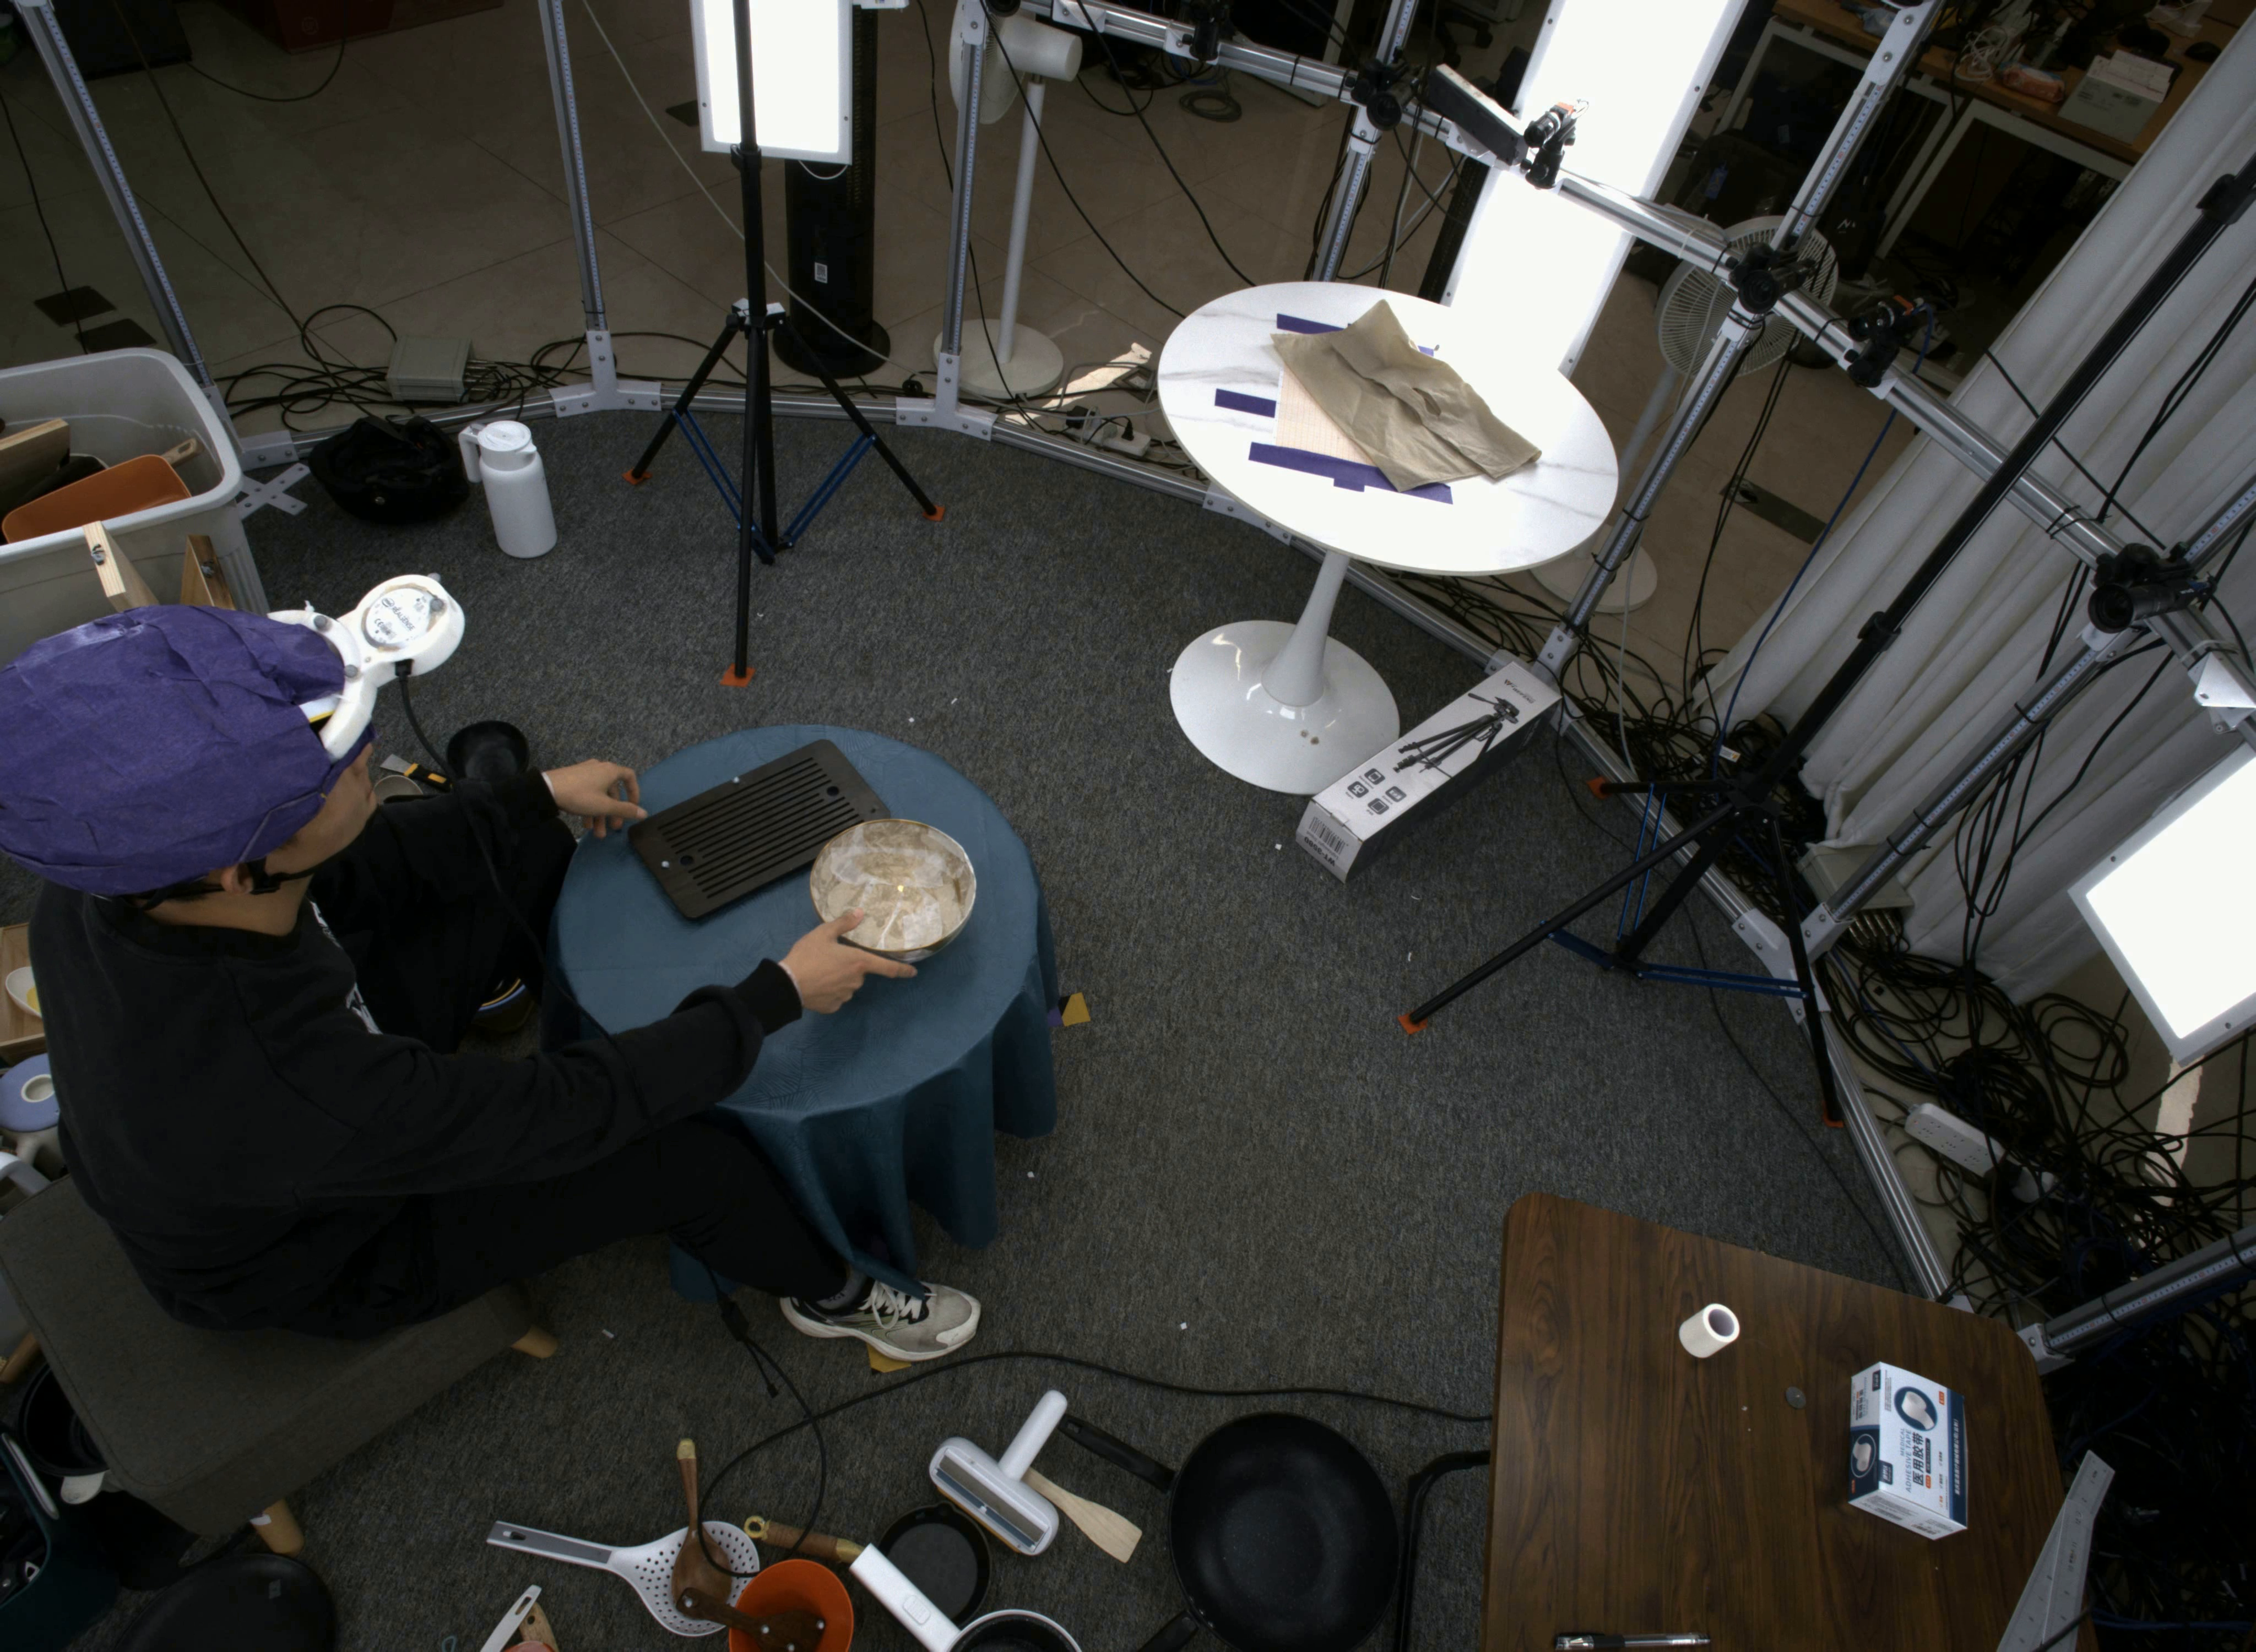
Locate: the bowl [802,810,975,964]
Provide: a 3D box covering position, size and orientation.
[{"bbox_3d":[-0.300,0.092,1.633,0.214,0.096,0.211,8,53,-9],"label":"bowl"}]

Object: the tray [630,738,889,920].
[{"bbox_3d":[-0.483,-0.001,1.704,0.307,0.019,0.166,-30,66,-31],"label":"tray"}]
